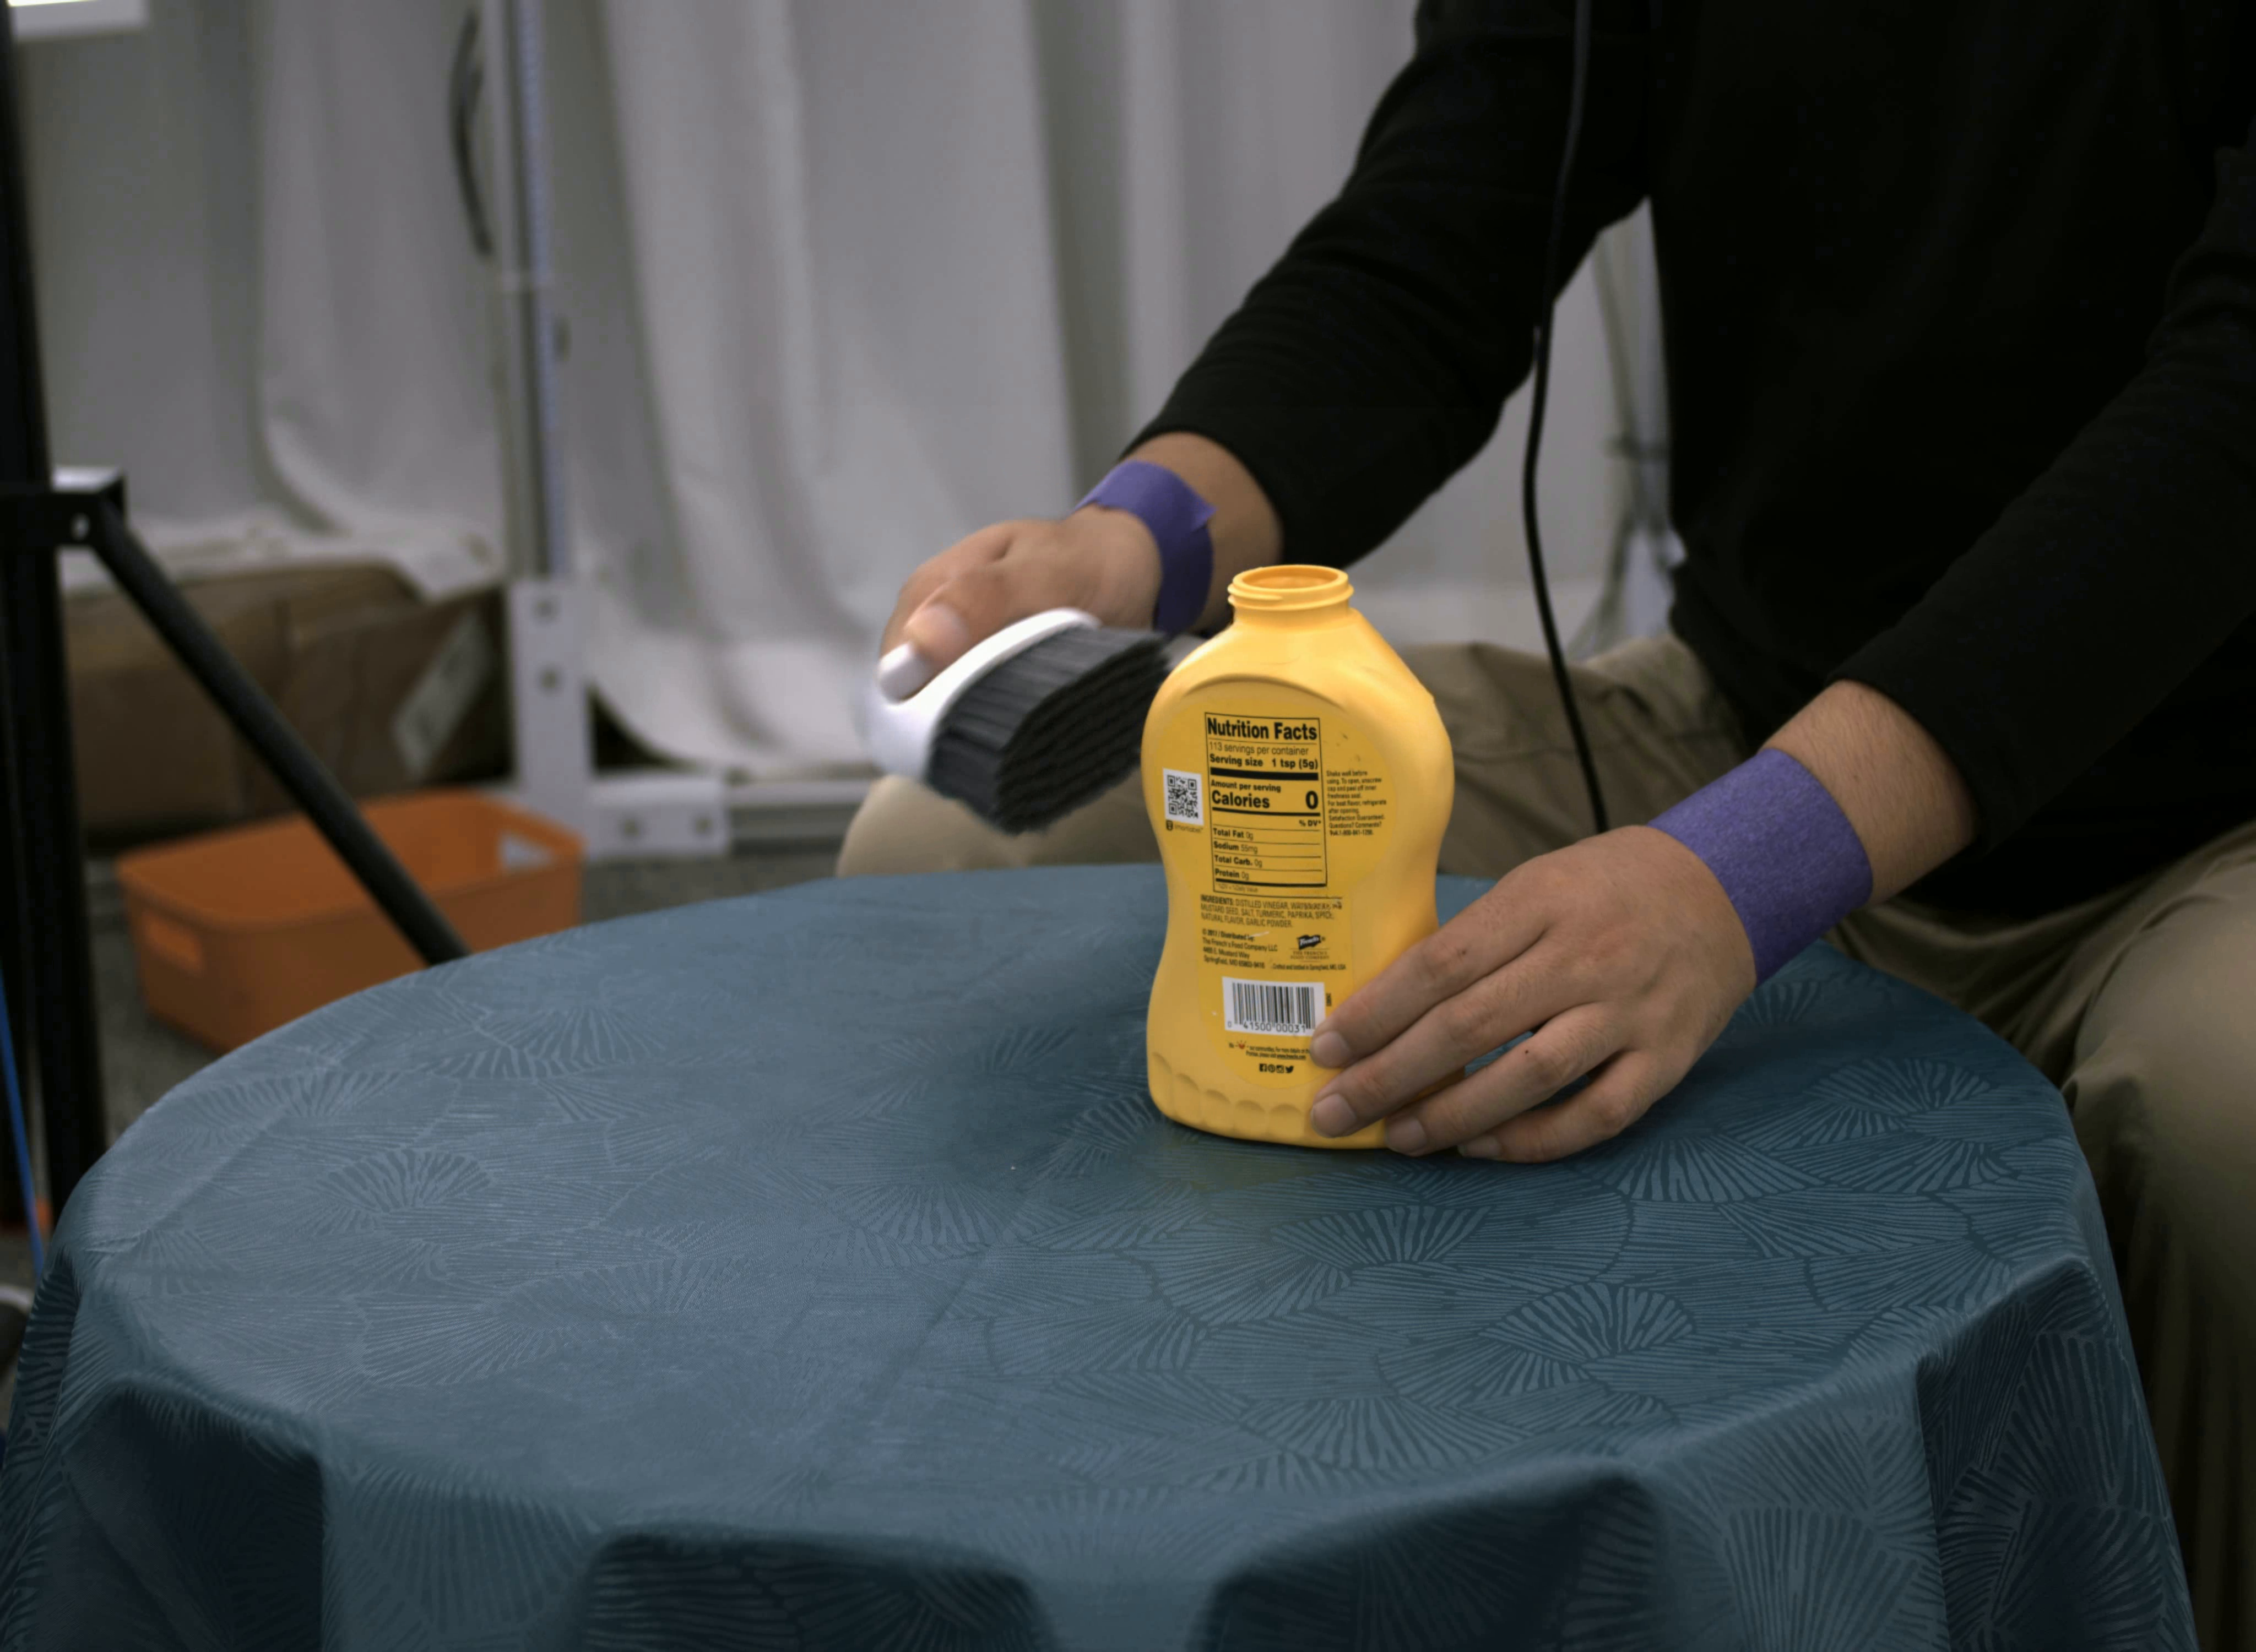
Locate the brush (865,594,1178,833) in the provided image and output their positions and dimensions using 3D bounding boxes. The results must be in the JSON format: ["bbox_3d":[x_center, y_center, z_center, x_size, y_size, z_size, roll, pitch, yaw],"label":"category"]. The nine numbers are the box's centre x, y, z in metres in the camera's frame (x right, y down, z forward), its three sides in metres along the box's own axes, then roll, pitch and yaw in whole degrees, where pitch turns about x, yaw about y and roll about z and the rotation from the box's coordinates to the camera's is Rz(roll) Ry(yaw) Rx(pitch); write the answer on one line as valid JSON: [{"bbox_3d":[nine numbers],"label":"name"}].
[{"bbox_3d":[-0.039,-0.042,1.656,0.074,0.050,0.097,22,34,28],"label":"brush"}]

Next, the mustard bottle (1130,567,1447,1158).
[{"bbox_3d":[0.048,0.010,1.592,0.099,0.172,0.058,3,12,23],"label":"mustard bottle"}]
